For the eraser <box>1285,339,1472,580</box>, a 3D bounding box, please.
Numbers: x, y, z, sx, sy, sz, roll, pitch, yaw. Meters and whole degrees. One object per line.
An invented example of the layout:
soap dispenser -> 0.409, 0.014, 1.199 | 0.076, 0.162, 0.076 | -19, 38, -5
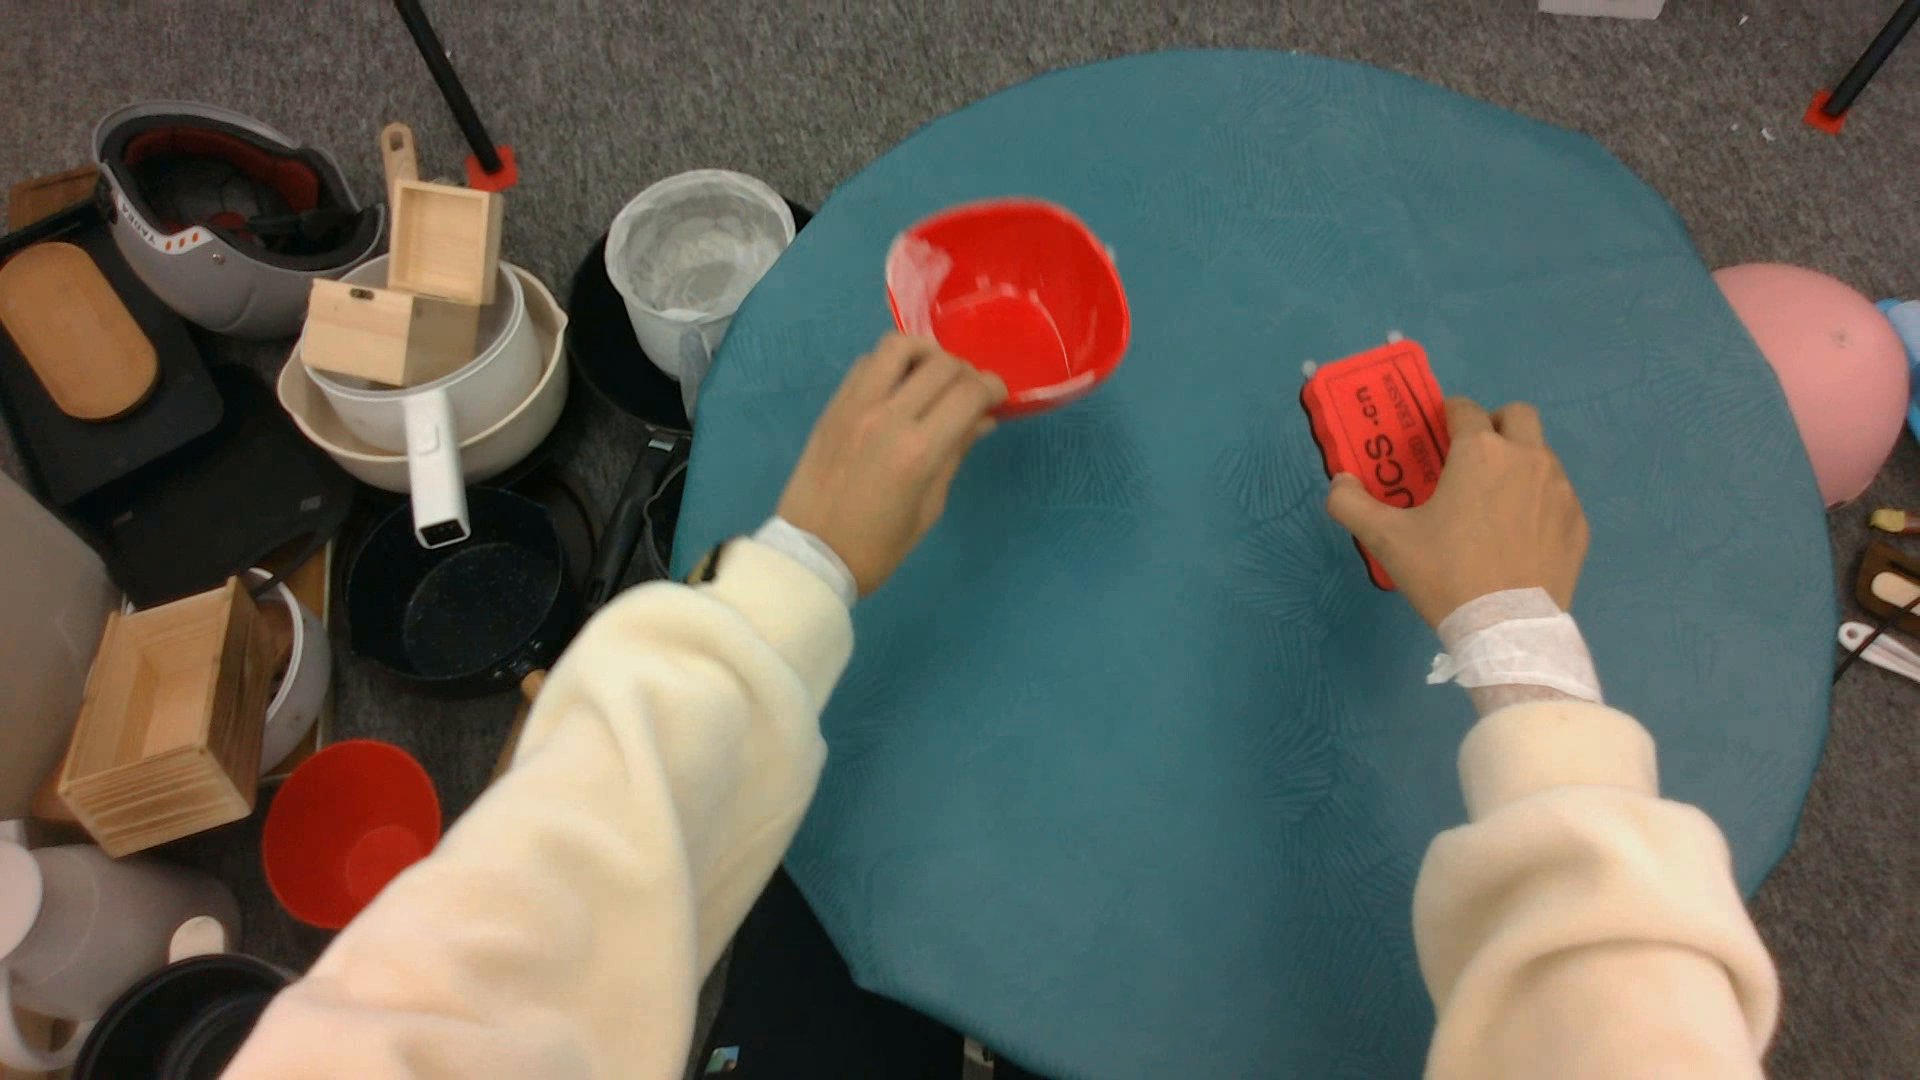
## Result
eraser -> 0.199, -0.039, 0.658 | 0.059, 0.023, 0.108 | -15, 80, -10

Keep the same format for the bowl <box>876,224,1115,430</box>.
bowl -> 0.014, -0.096, 0.675 | 0.119, 0.051, 0.119 | 4, 59, -6
